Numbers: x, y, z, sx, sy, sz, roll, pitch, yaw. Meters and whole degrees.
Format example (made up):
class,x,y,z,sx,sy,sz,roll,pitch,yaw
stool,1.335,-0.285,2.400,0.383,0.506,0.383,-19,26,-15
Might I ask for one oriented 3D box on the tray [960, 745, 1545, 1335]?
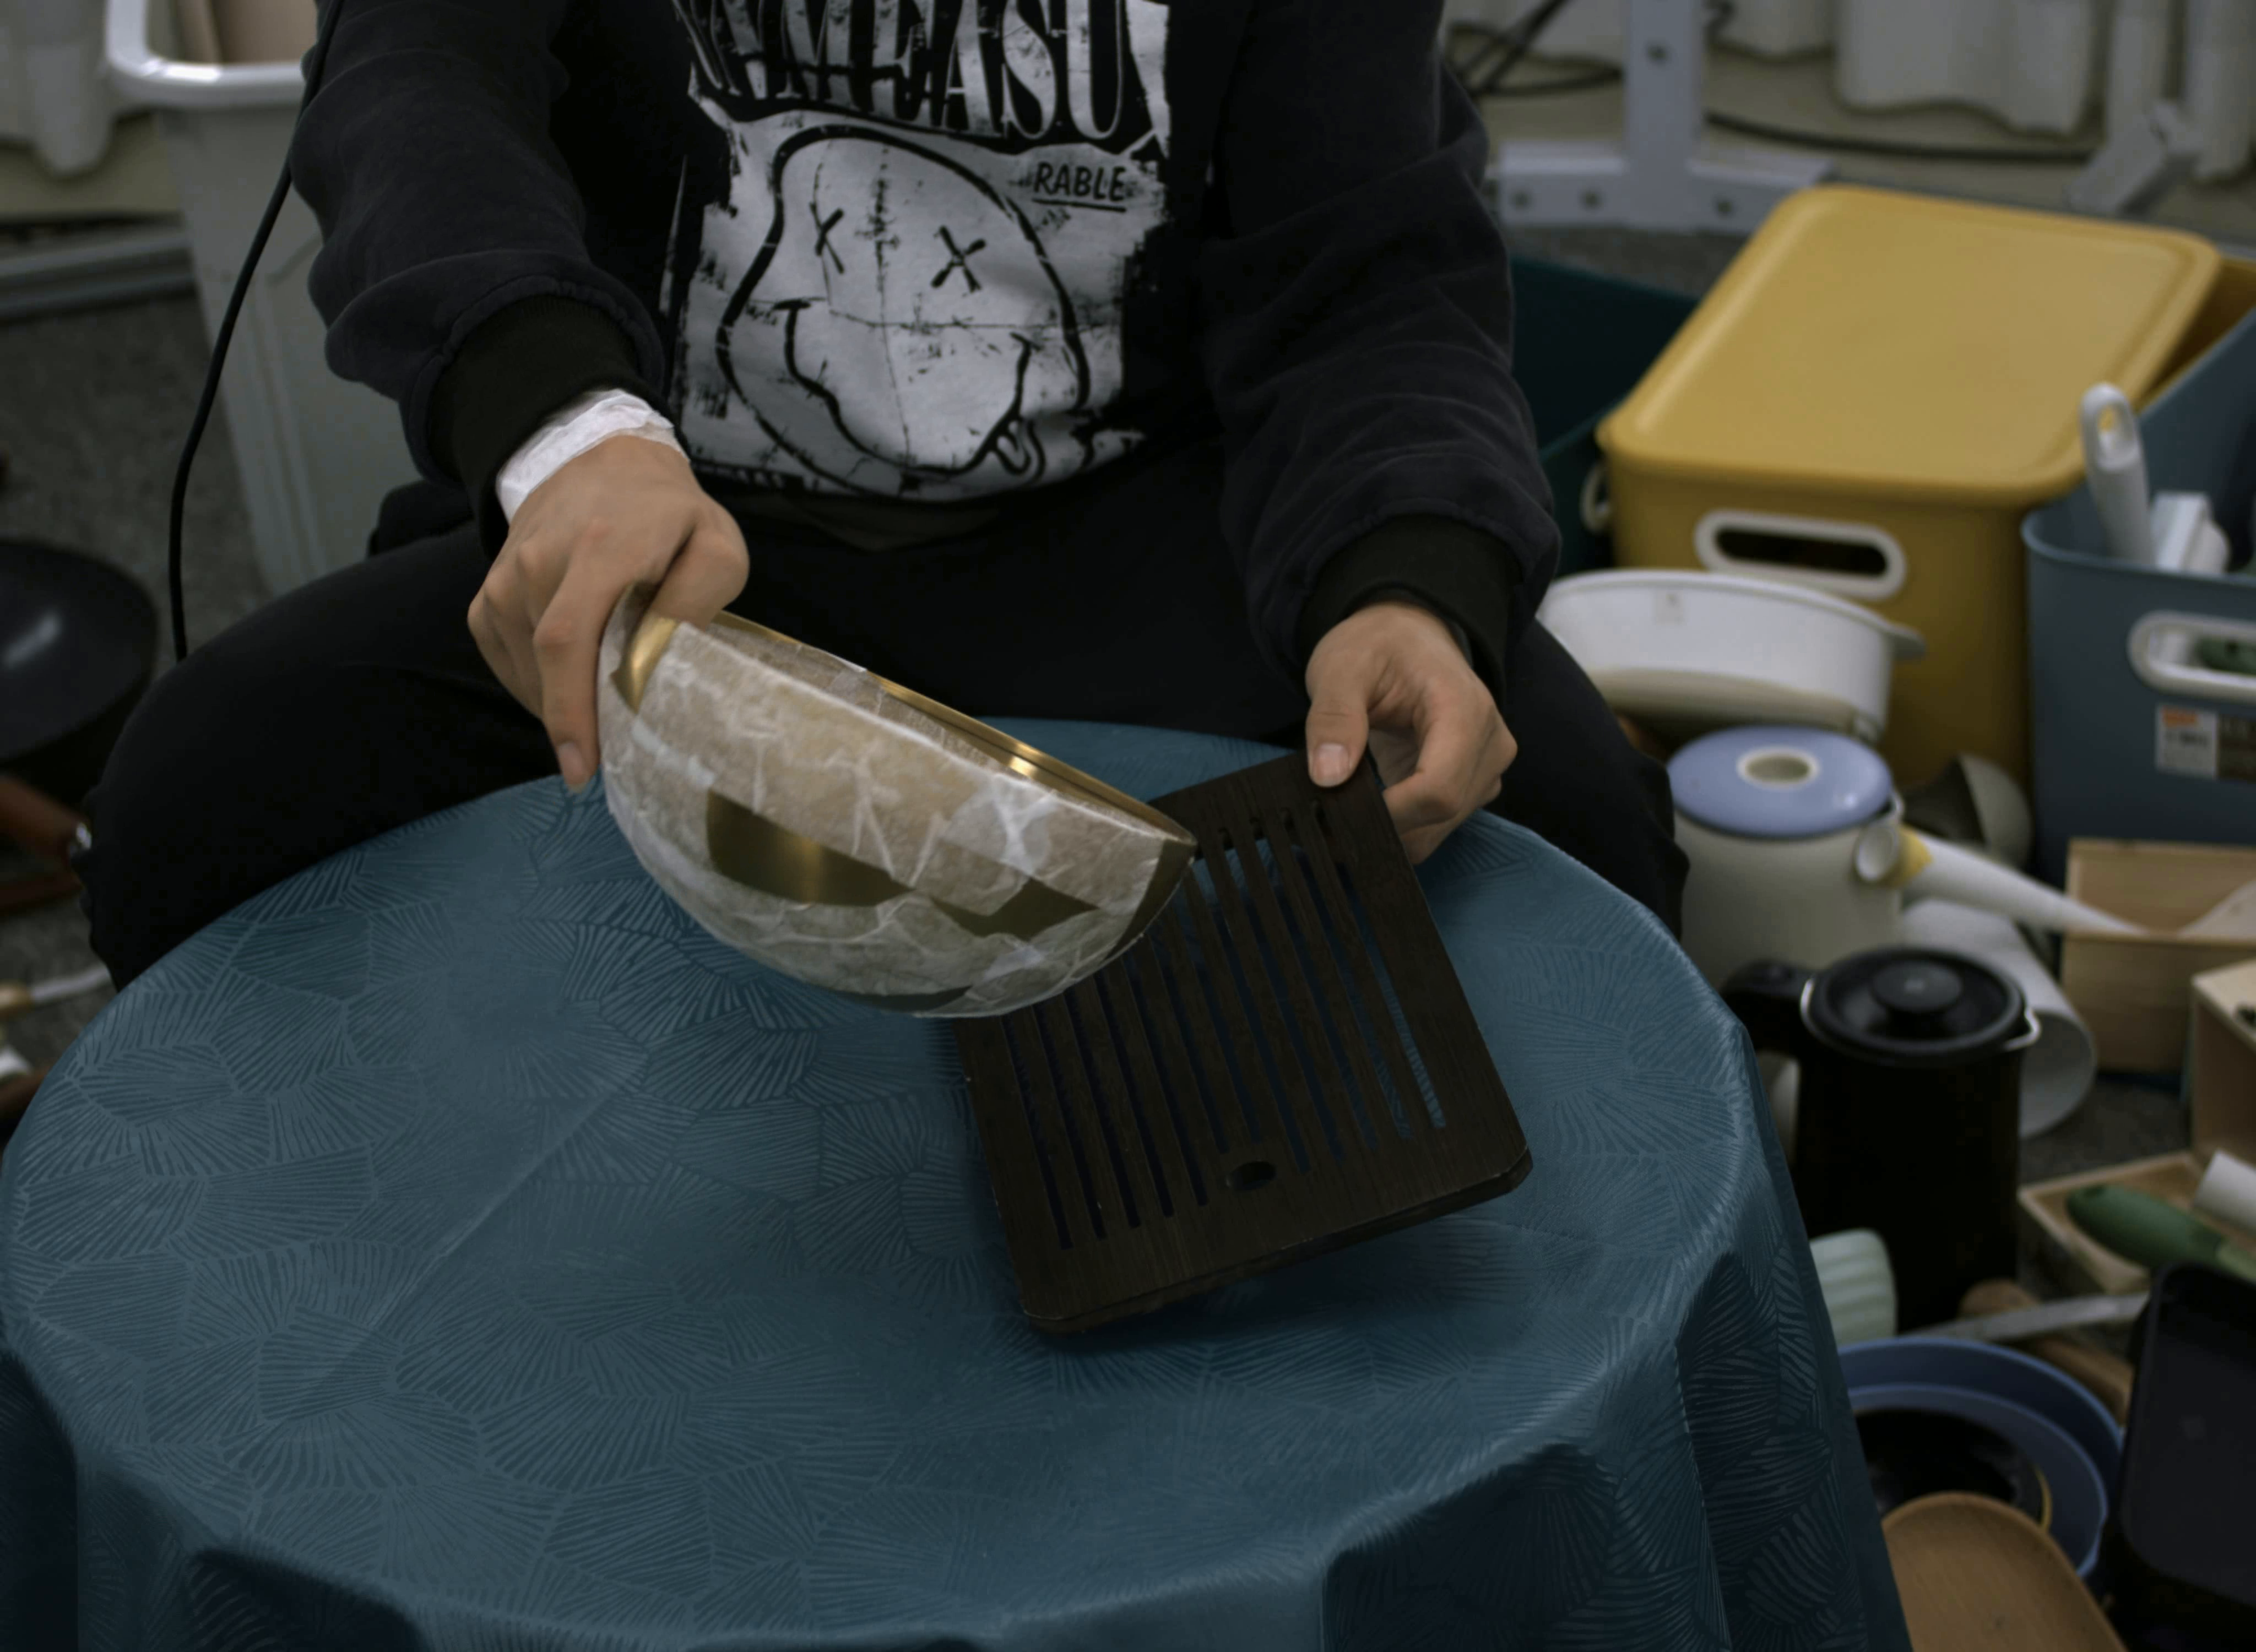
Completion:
class,x,y,z,sx,sy,sz,roll,pitch,yaw
tray,0.031,0.069,1.903,0.169,0.018,0.310,-18,28,0

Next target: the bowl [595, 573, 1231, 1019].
class,x,y,z,sx,sy,sz,roll,pitch,yaw
bowl,-0.083,0.004,1.782,0.214,0.094,0.215,23,4,-1
